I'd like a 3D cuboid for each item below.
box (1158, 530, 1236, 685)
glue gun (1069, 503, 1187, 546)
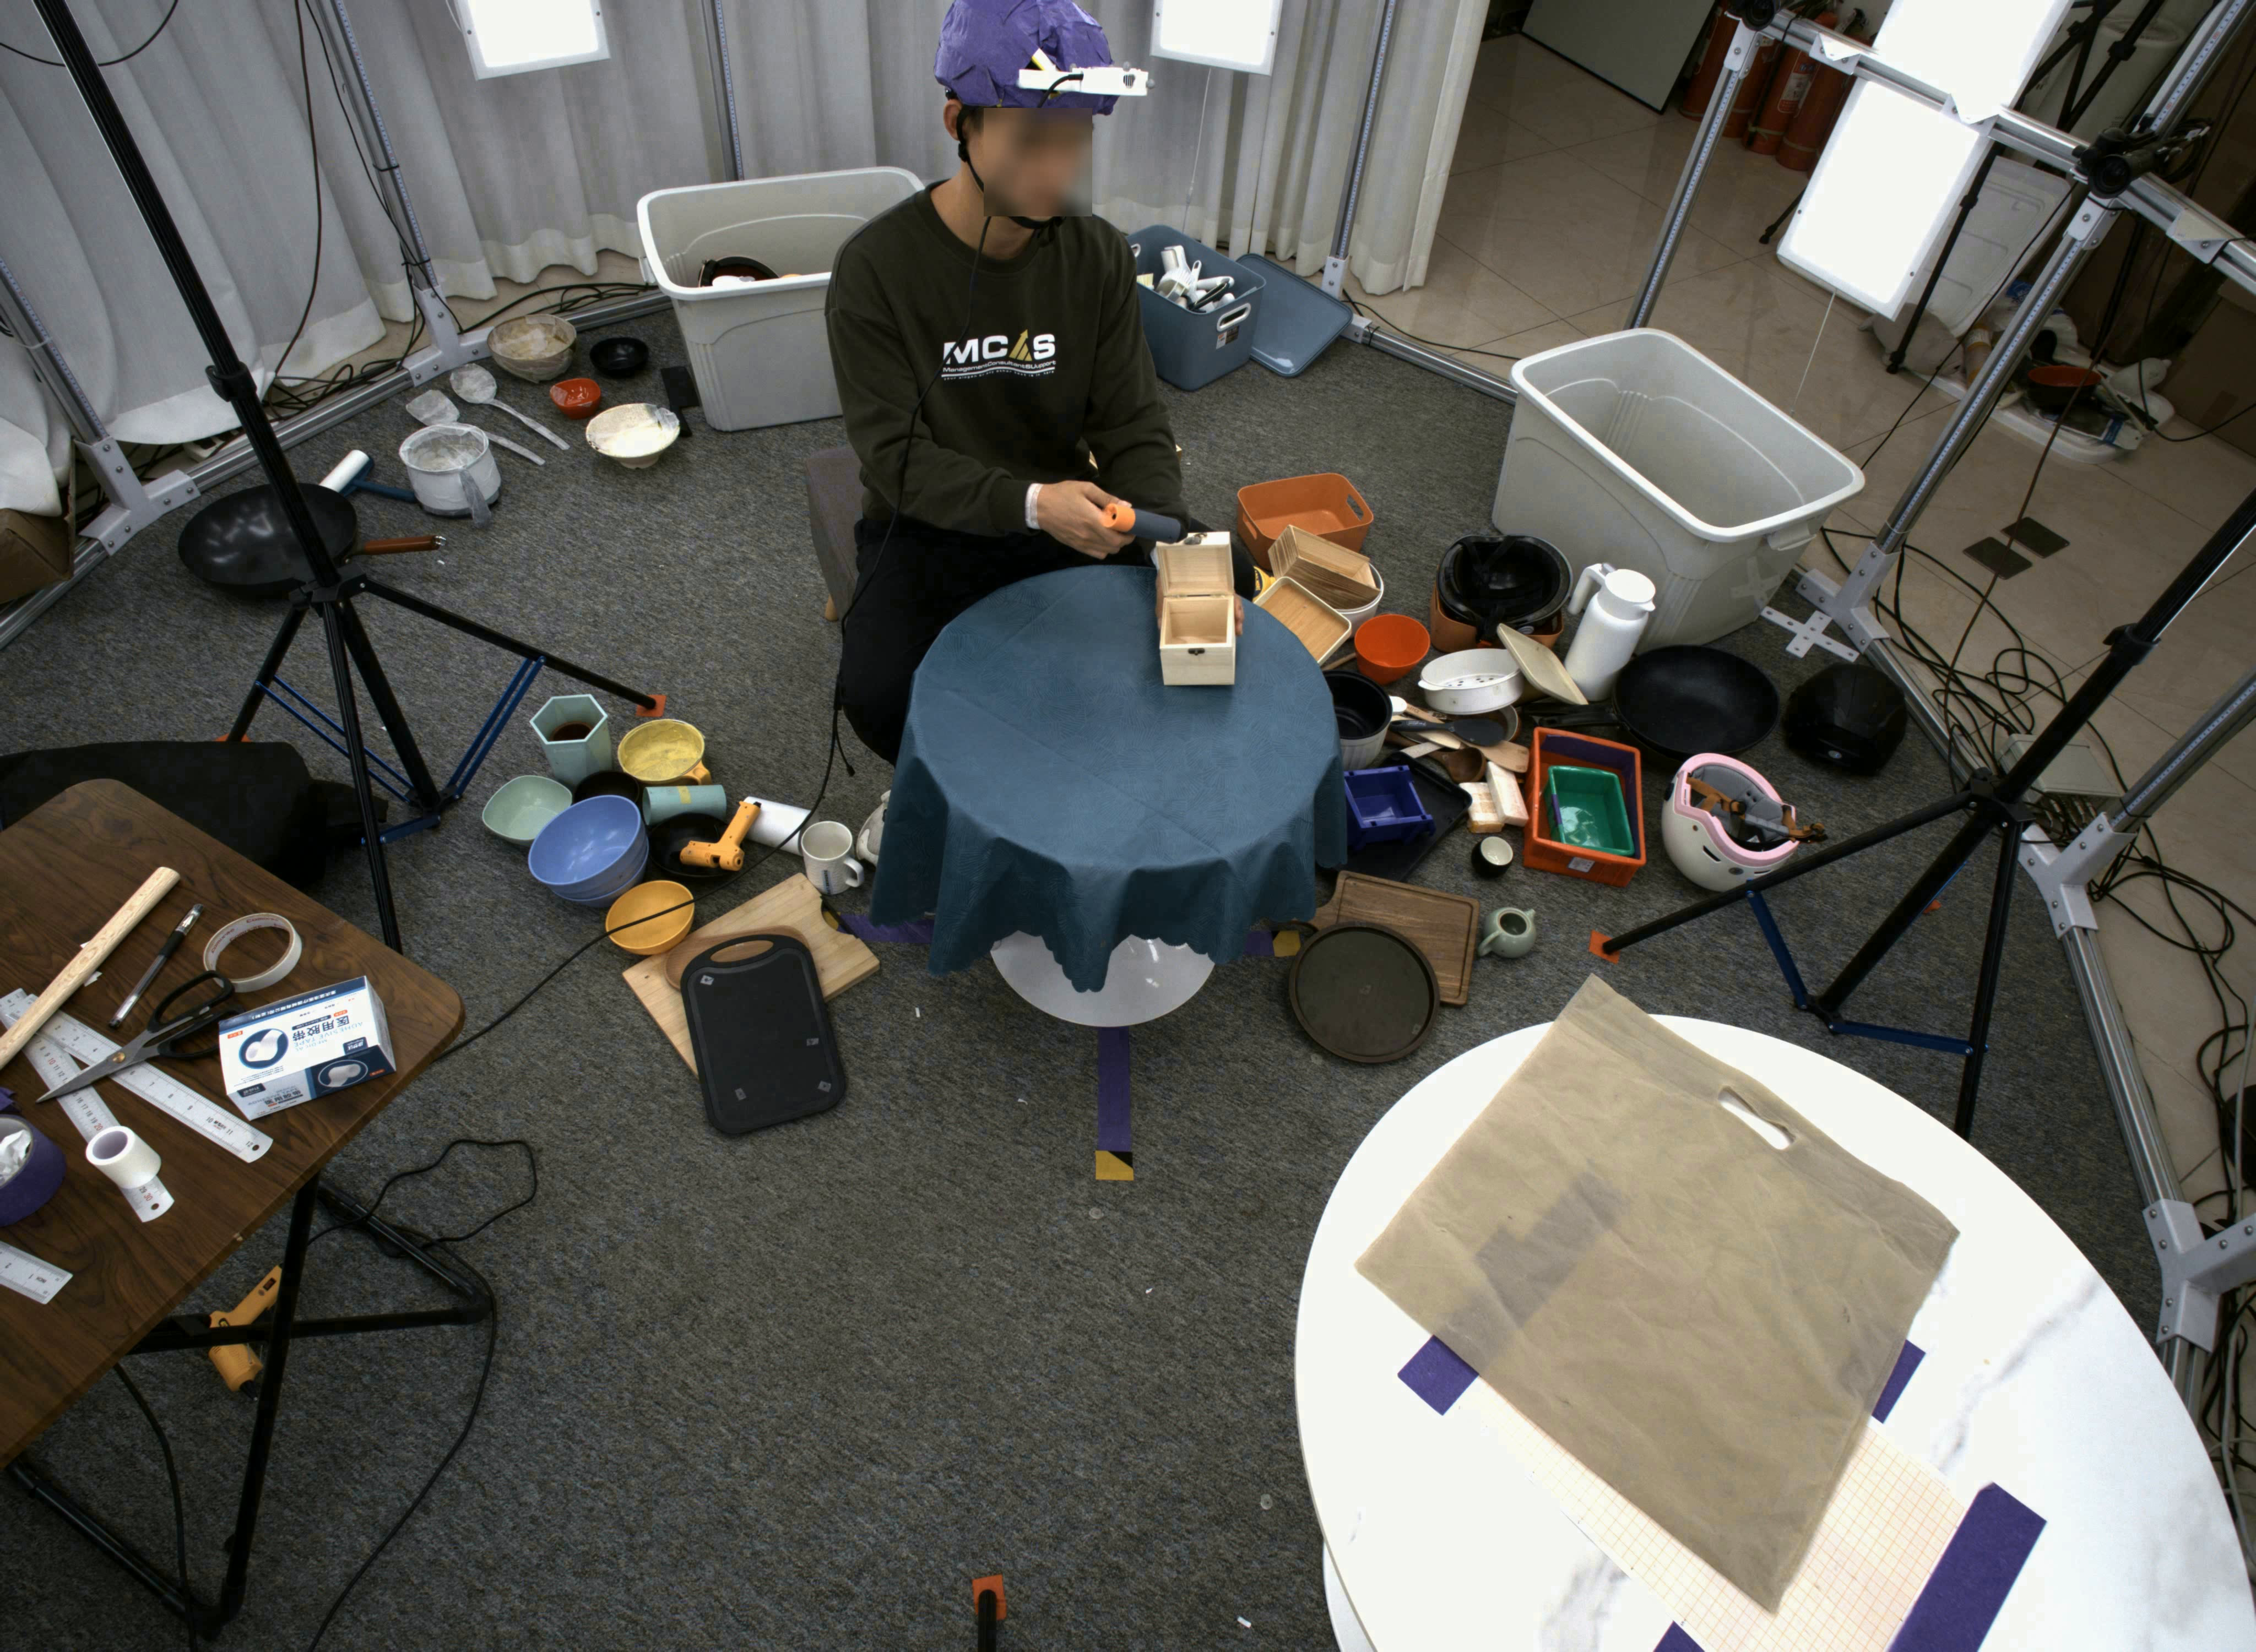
[{"bbox_3d":[0.097,-0.304,1.800,0.102,0.180,0.137,-1,52,7],"label":"box"},{"bbox_3d":[-0.003,-0.407,1.747,0.117,0.041,0.141,9,3,-44],"label":"glue gun"}]
